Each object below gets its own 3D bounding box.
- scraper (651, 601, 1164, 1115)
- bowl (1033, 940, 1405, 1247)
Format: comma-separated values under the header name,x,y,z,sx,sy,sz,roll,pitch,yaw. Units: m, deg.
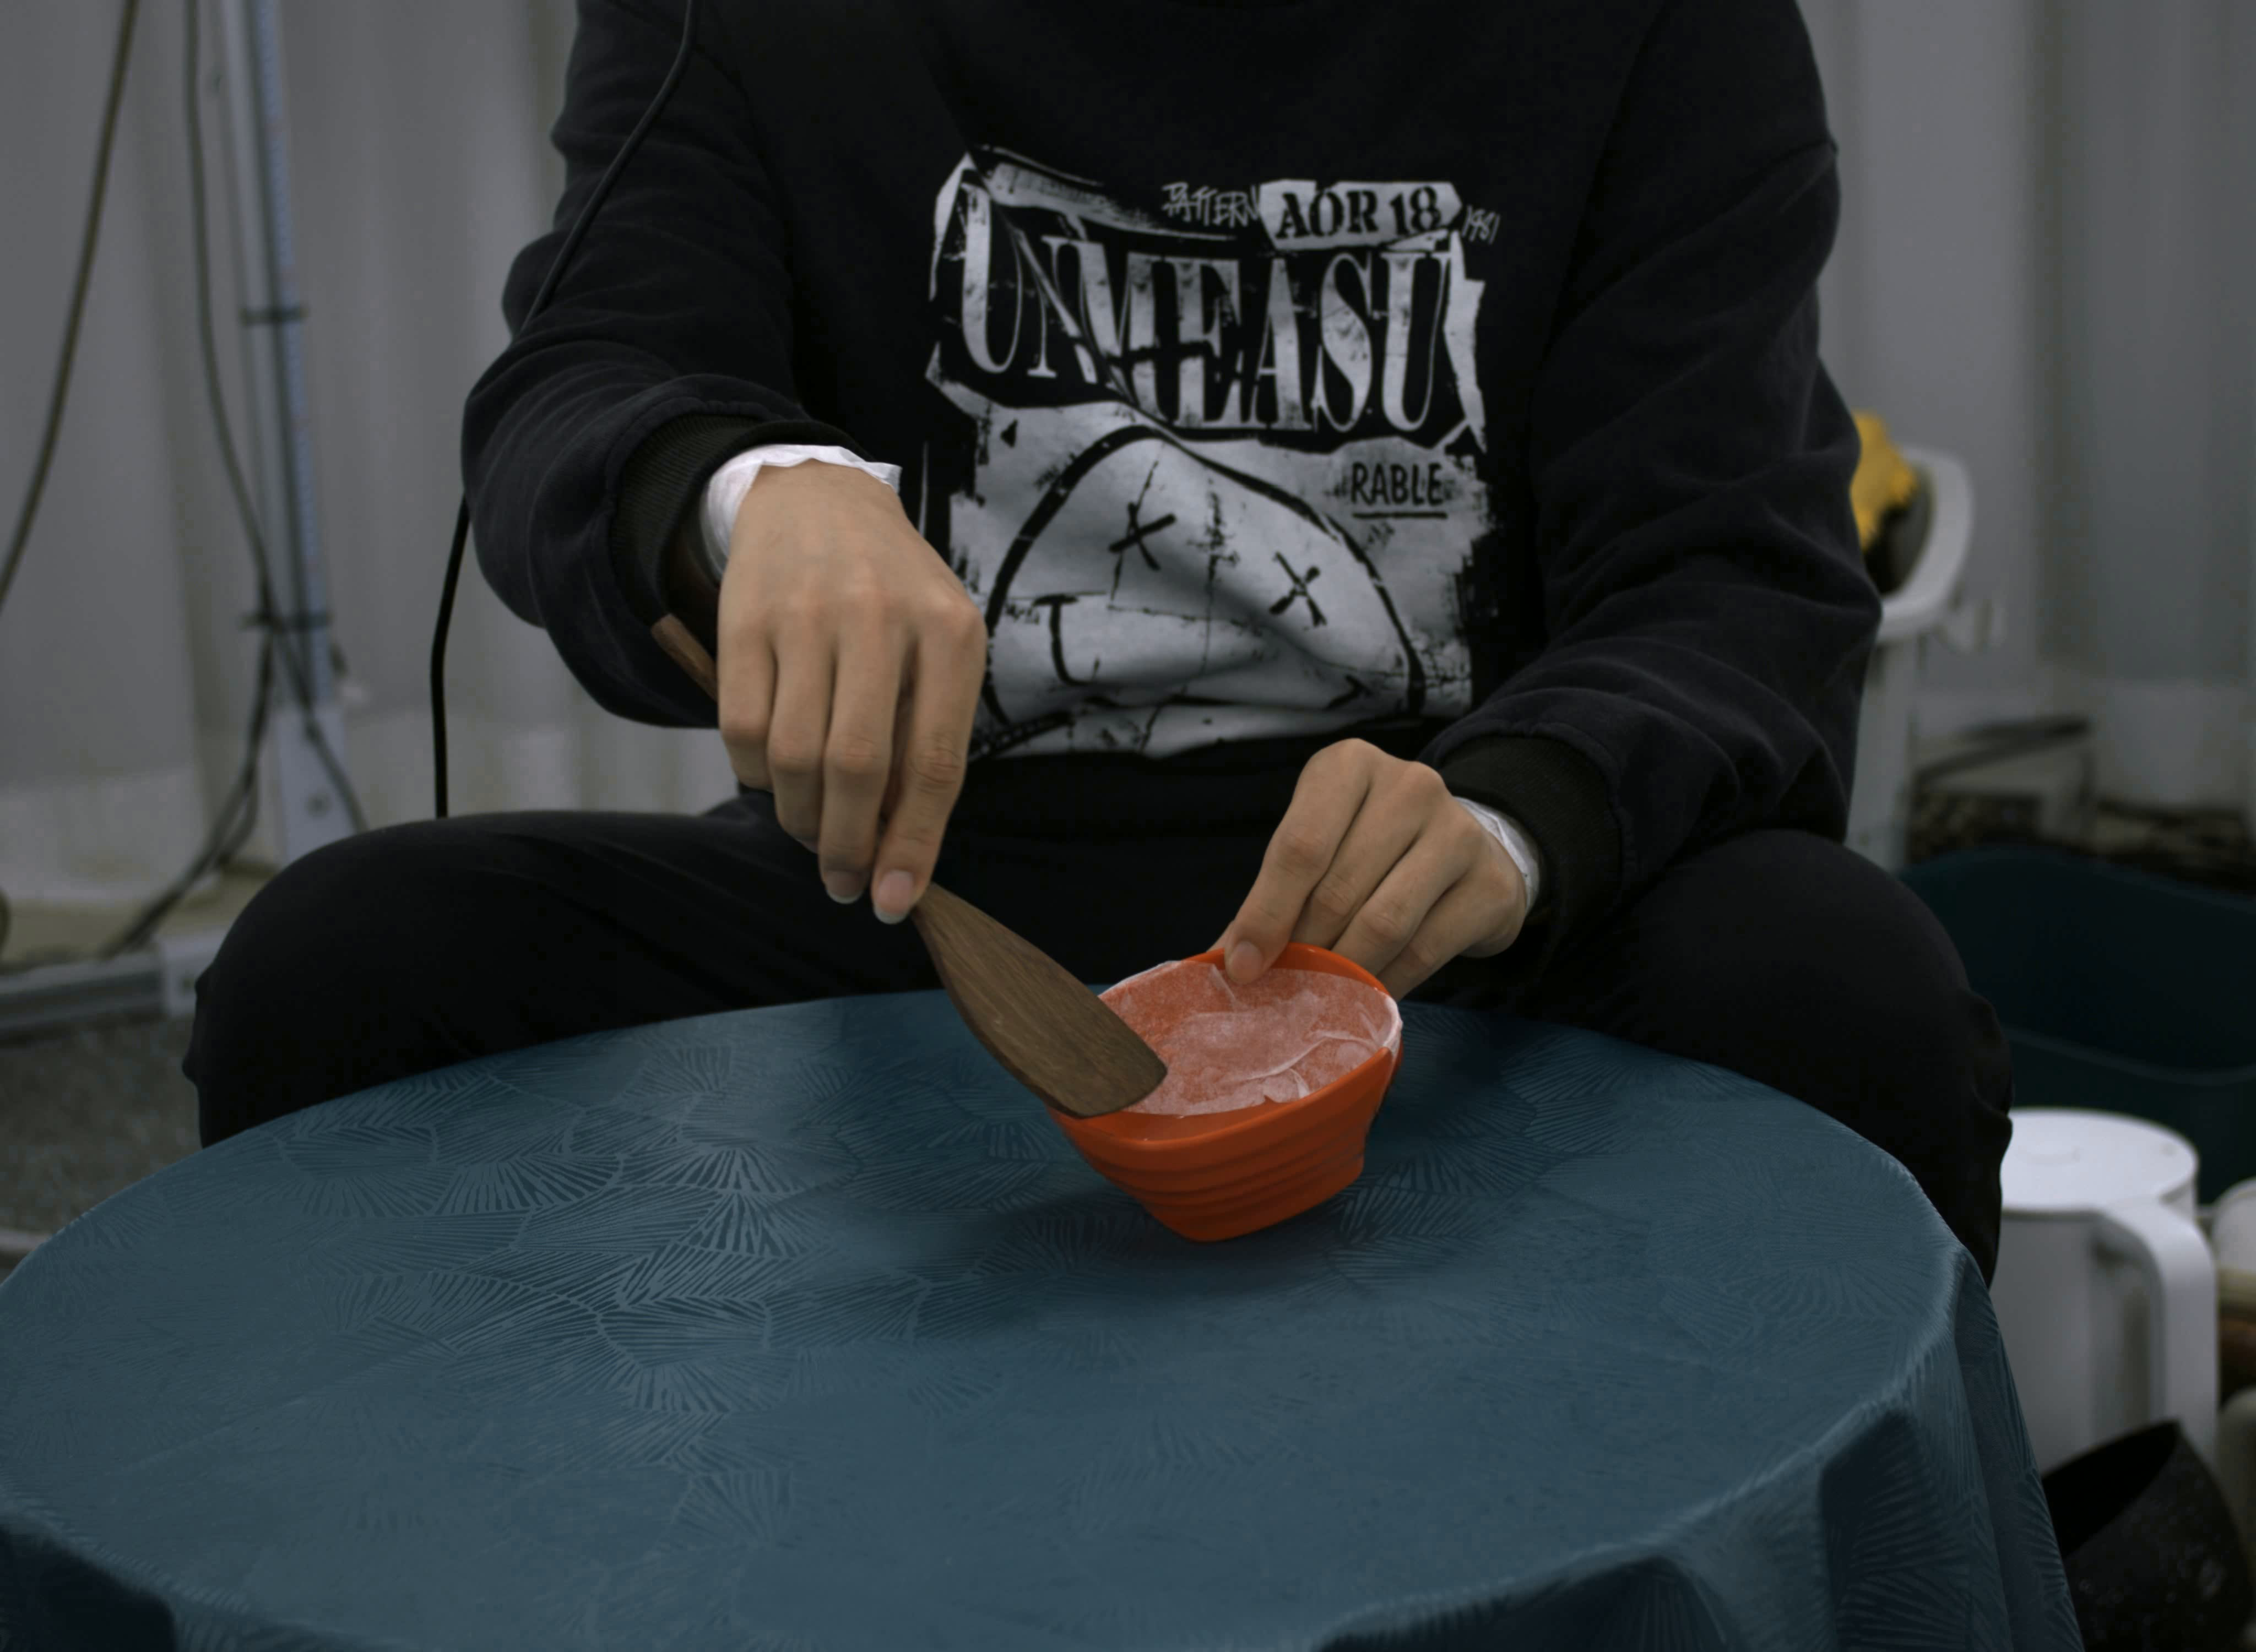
name,x,y,z,sx,sy,sz,roll,pitch,yaw
scraper,-0.071,0.009,1.661,0.212,0.011,0.076,47,24,11
bowl,0.032,0.087,1.684,0.118,0.051,0.120,-12,27,6
